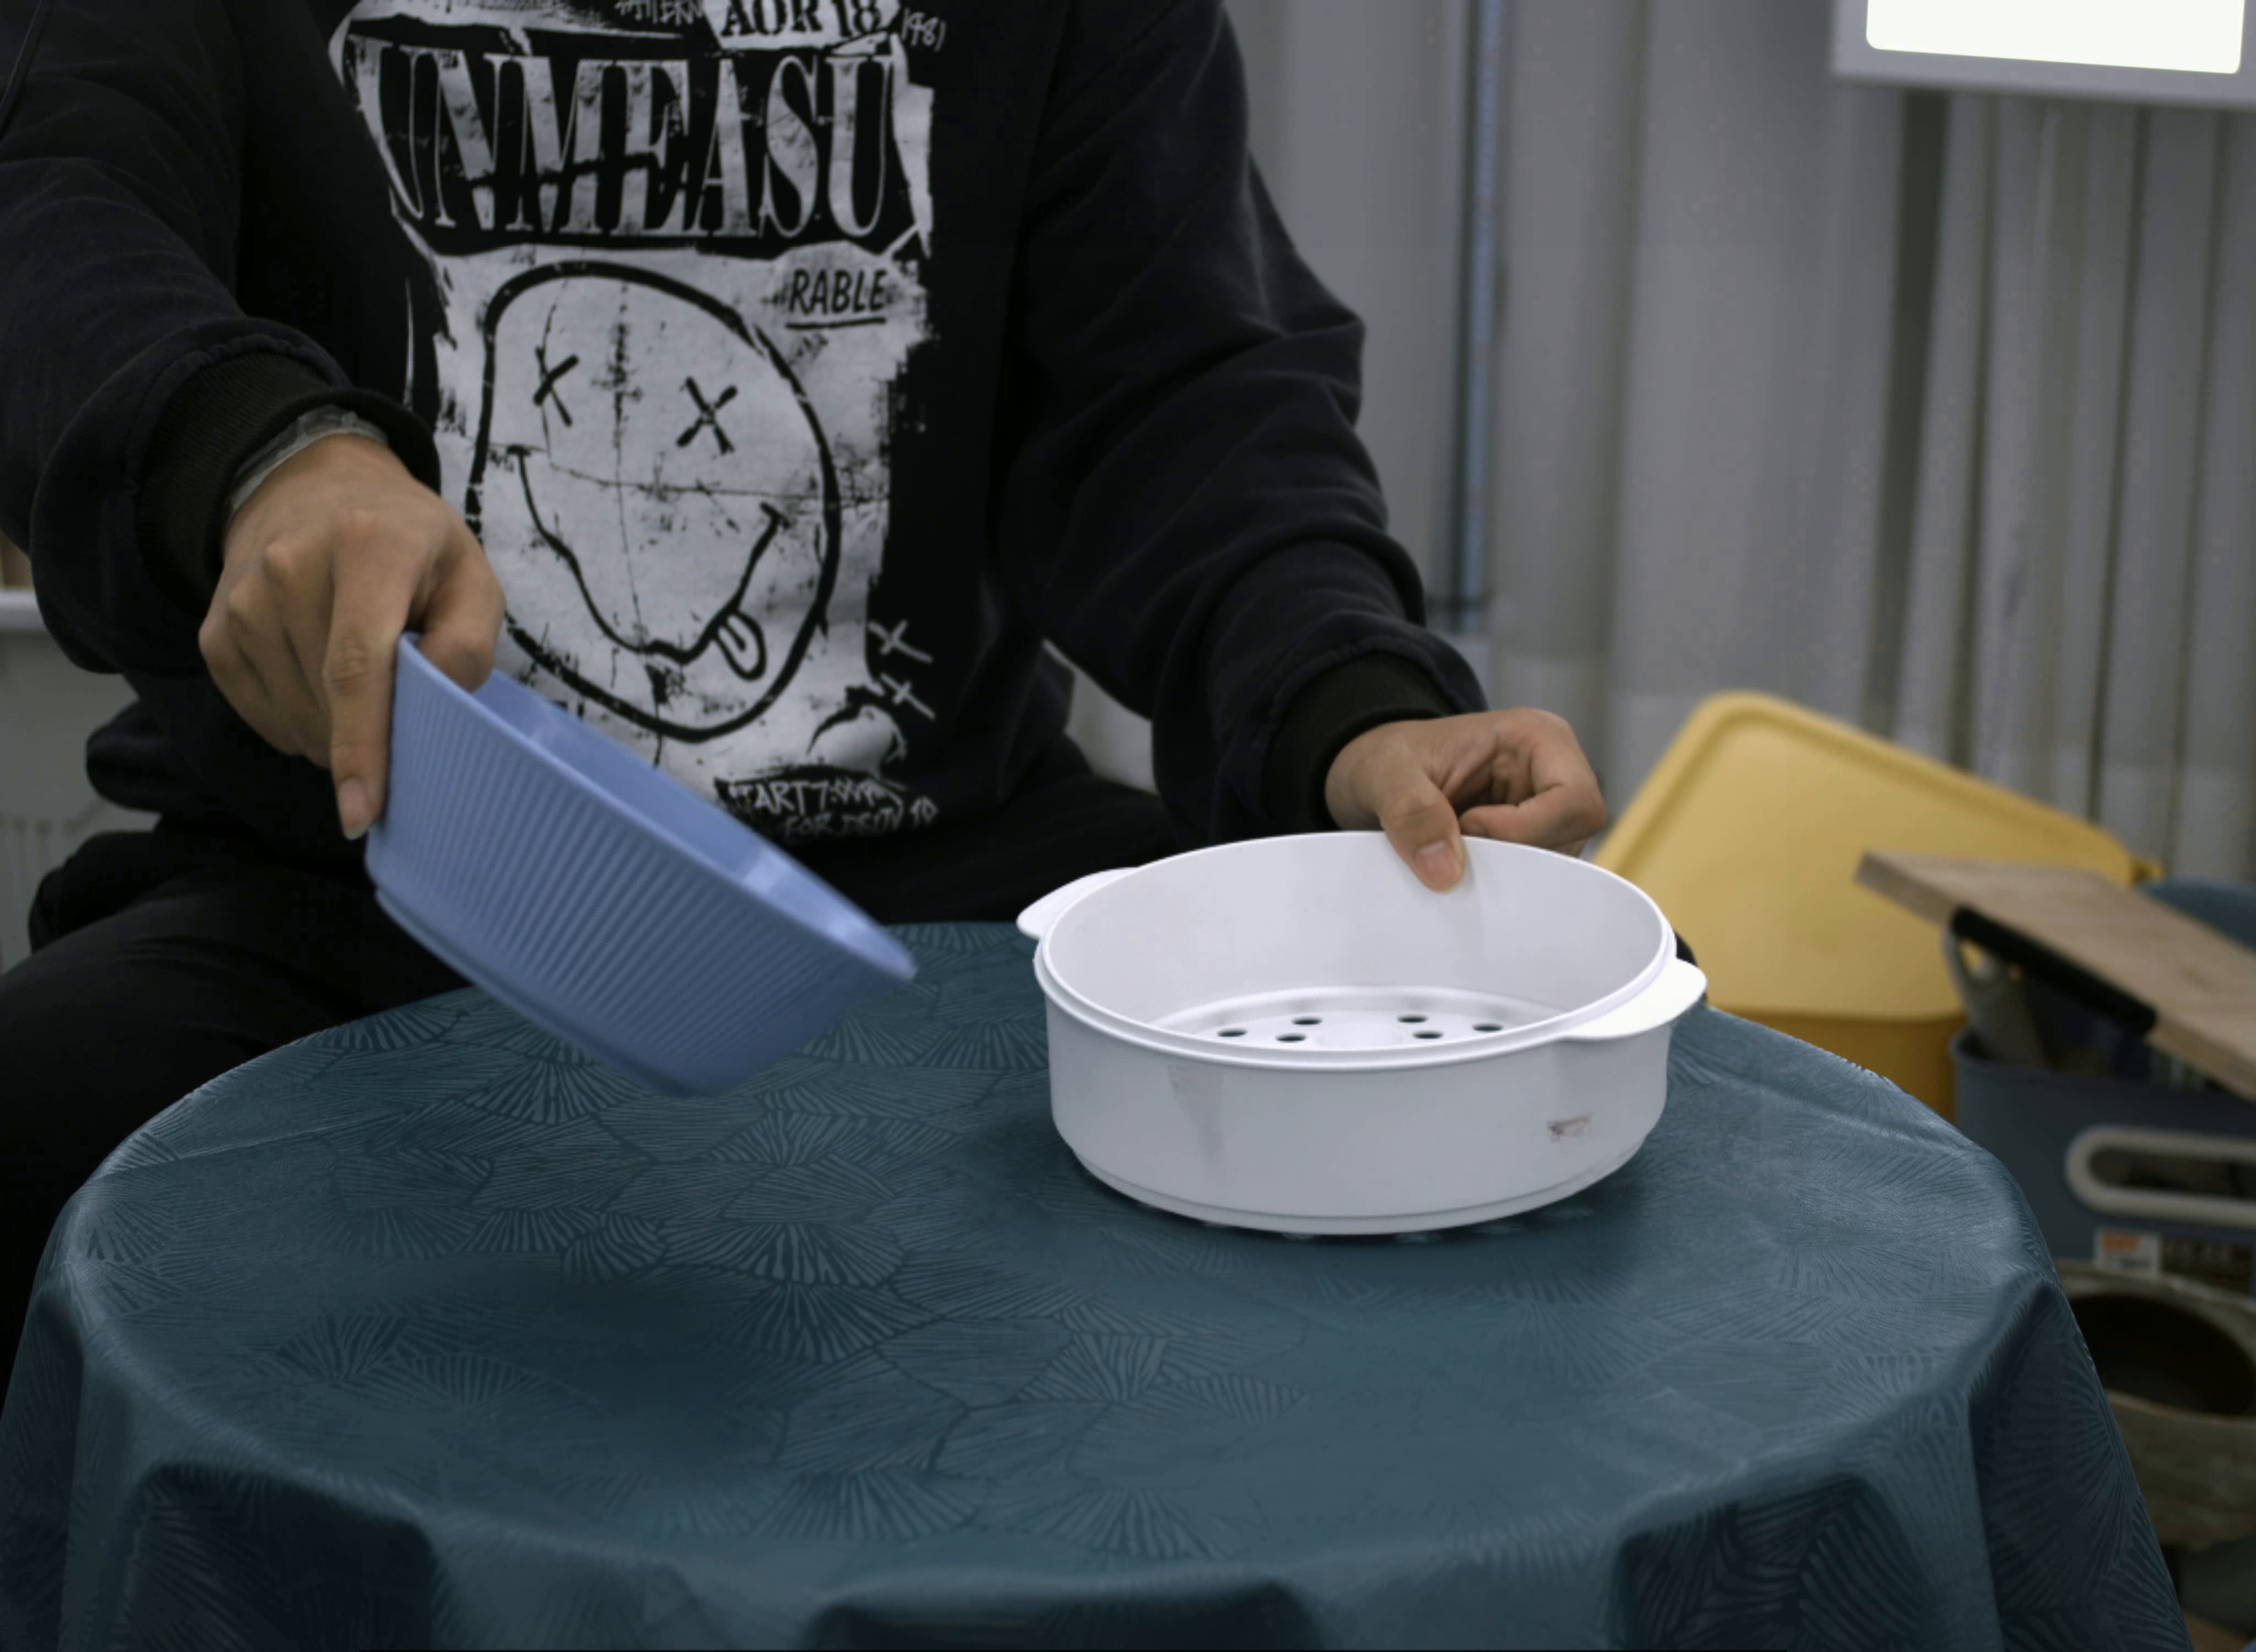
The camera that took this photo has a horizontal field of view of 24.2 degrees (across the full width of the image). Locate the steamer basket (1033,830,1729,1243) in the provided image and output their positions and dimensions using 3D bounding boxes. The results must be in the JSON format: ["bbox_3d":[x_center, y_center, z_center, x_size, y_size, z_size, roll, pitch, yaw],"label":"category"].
[{"bbox_3d":[0.077,0.065,1.654,0.228,0.070,0.202,12,24,29],"label":"steamer basket"}]

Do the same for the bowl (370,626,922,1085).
[{"bbox_3d":[-0.149,0.016,1.497,0.176,0.070,0.176,33,2,-1],"label":"bowl"}]
